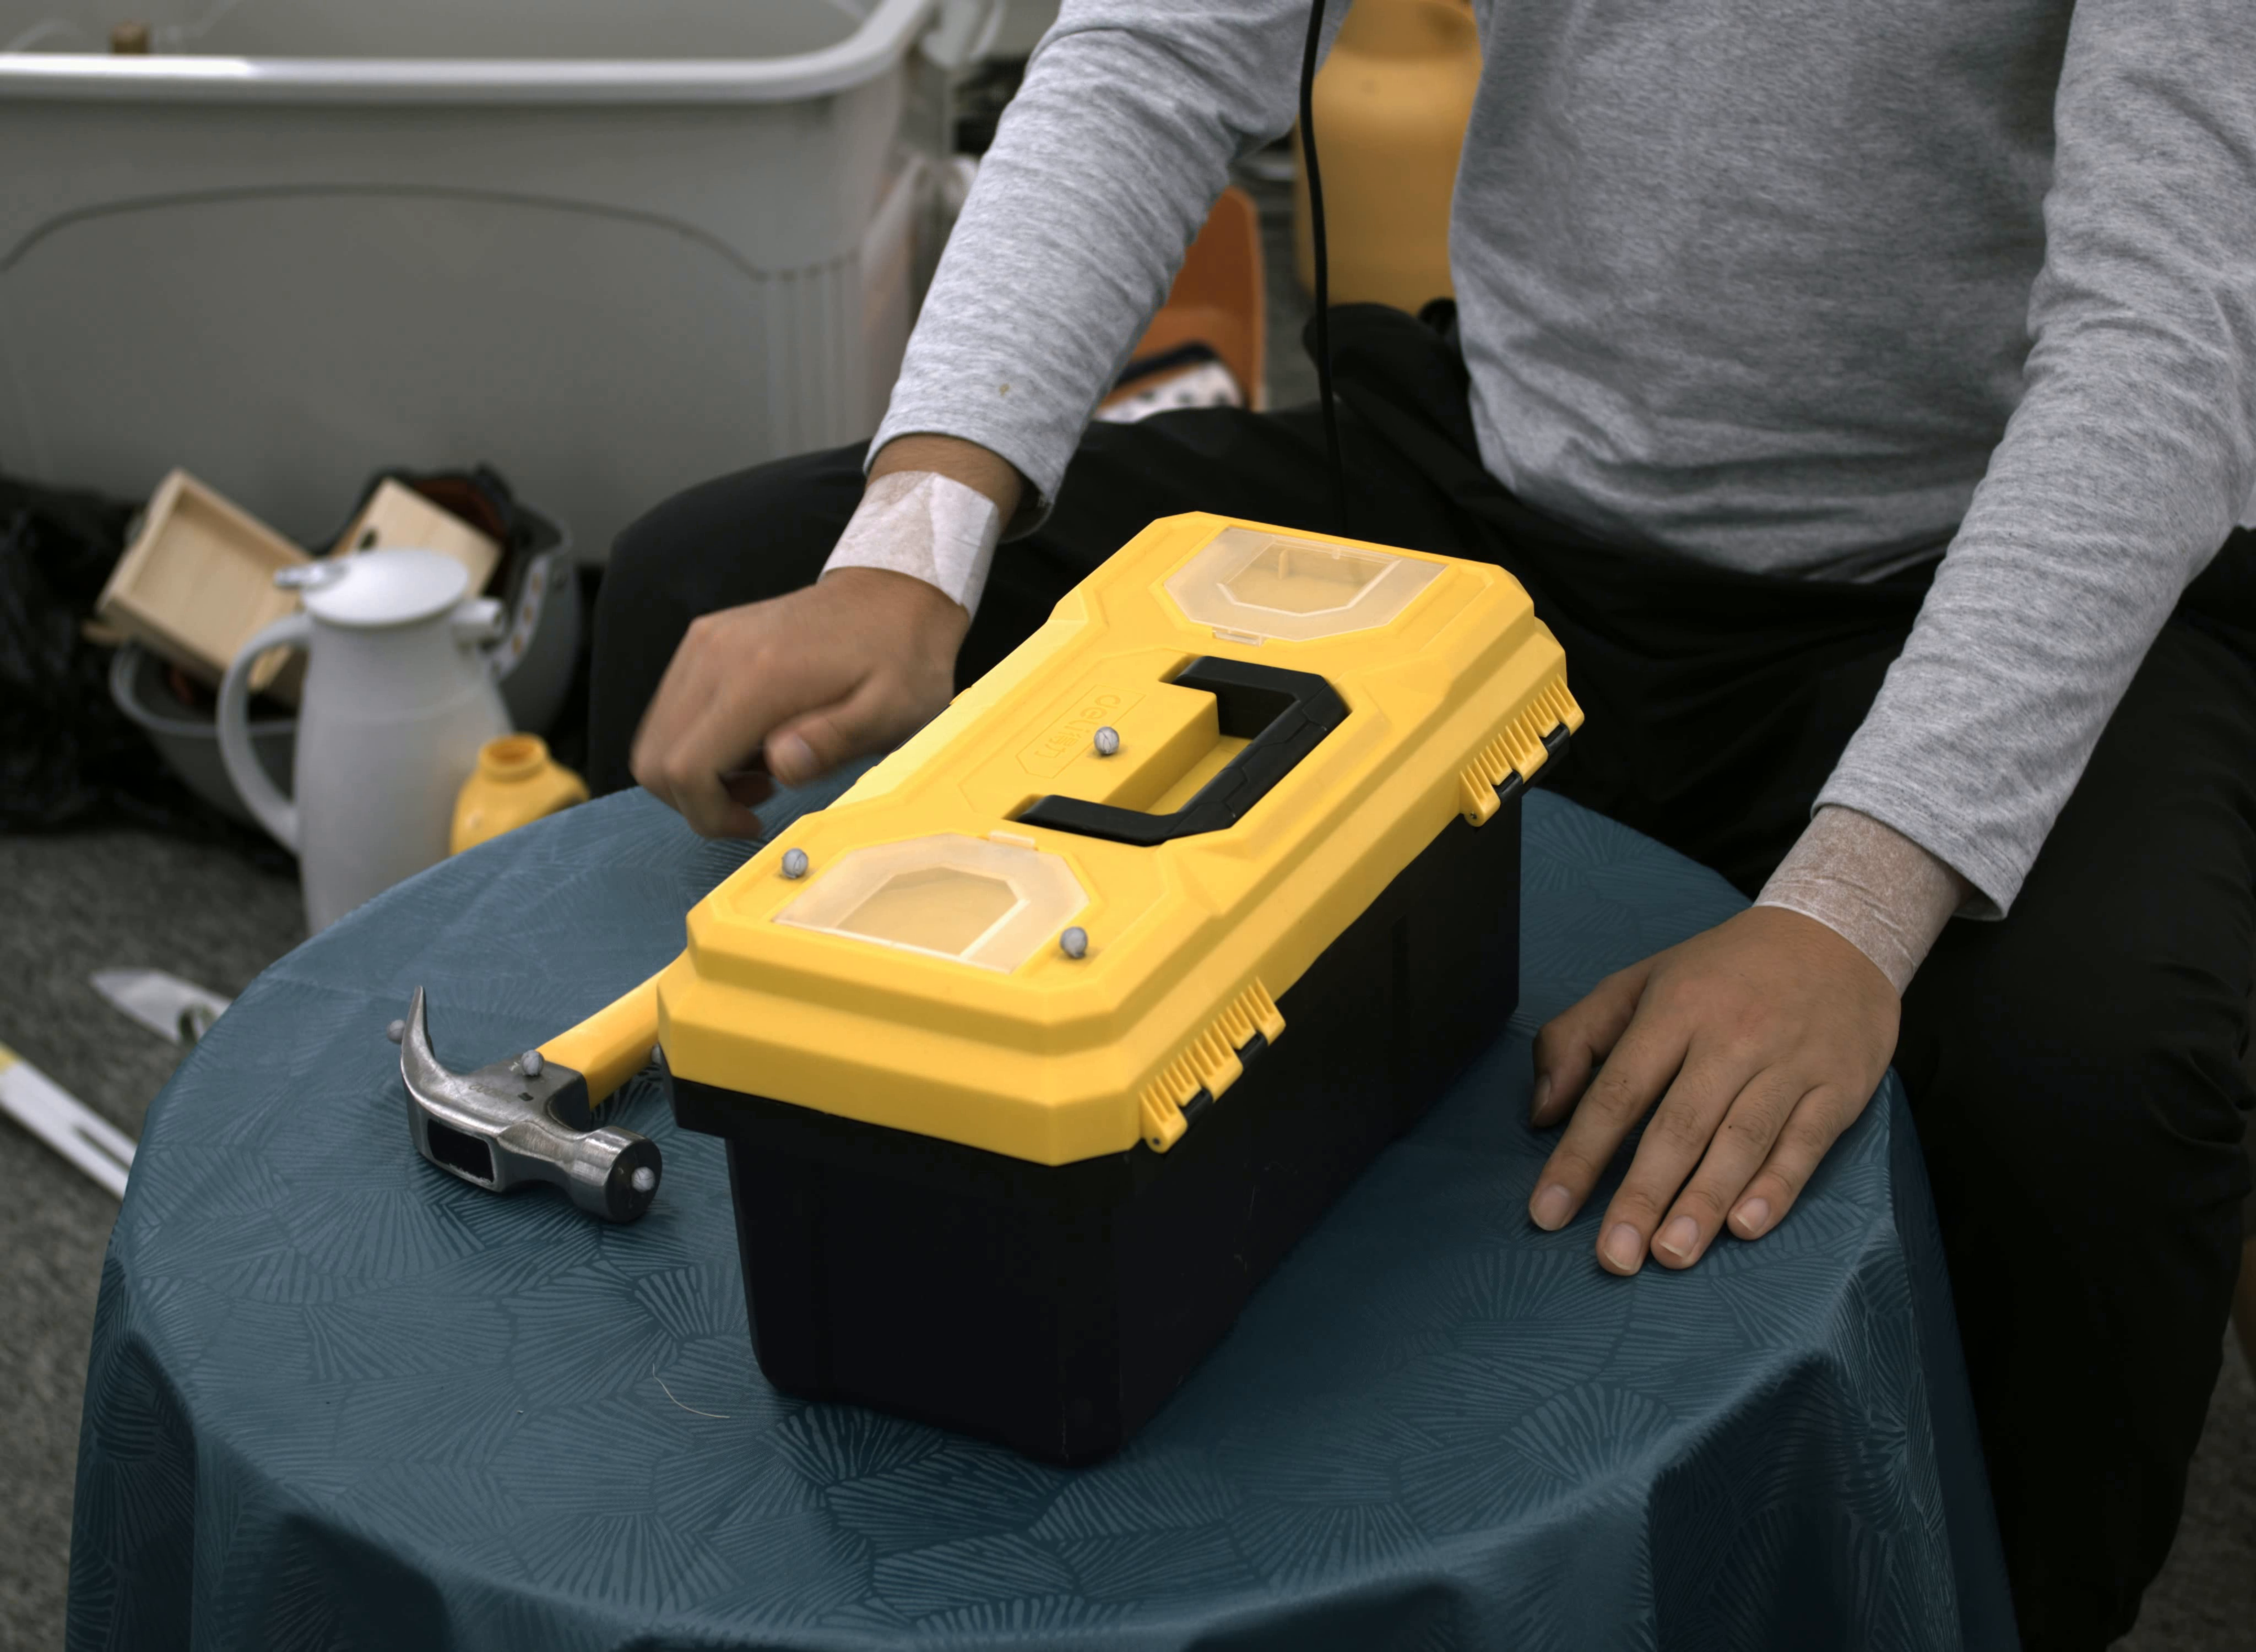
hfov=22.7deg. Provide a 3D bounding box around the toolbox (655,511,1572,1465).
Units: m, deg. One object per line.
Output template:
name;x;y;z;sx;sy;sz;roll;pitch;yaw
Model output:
toolbox;0.004;0.045;1.826;0.180;0.171;0.357;11;30;26

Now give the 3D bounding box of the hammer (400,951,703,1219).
hammer;-0.126;0.043;2.000;0.131;0.032;0.343;14;30;33
